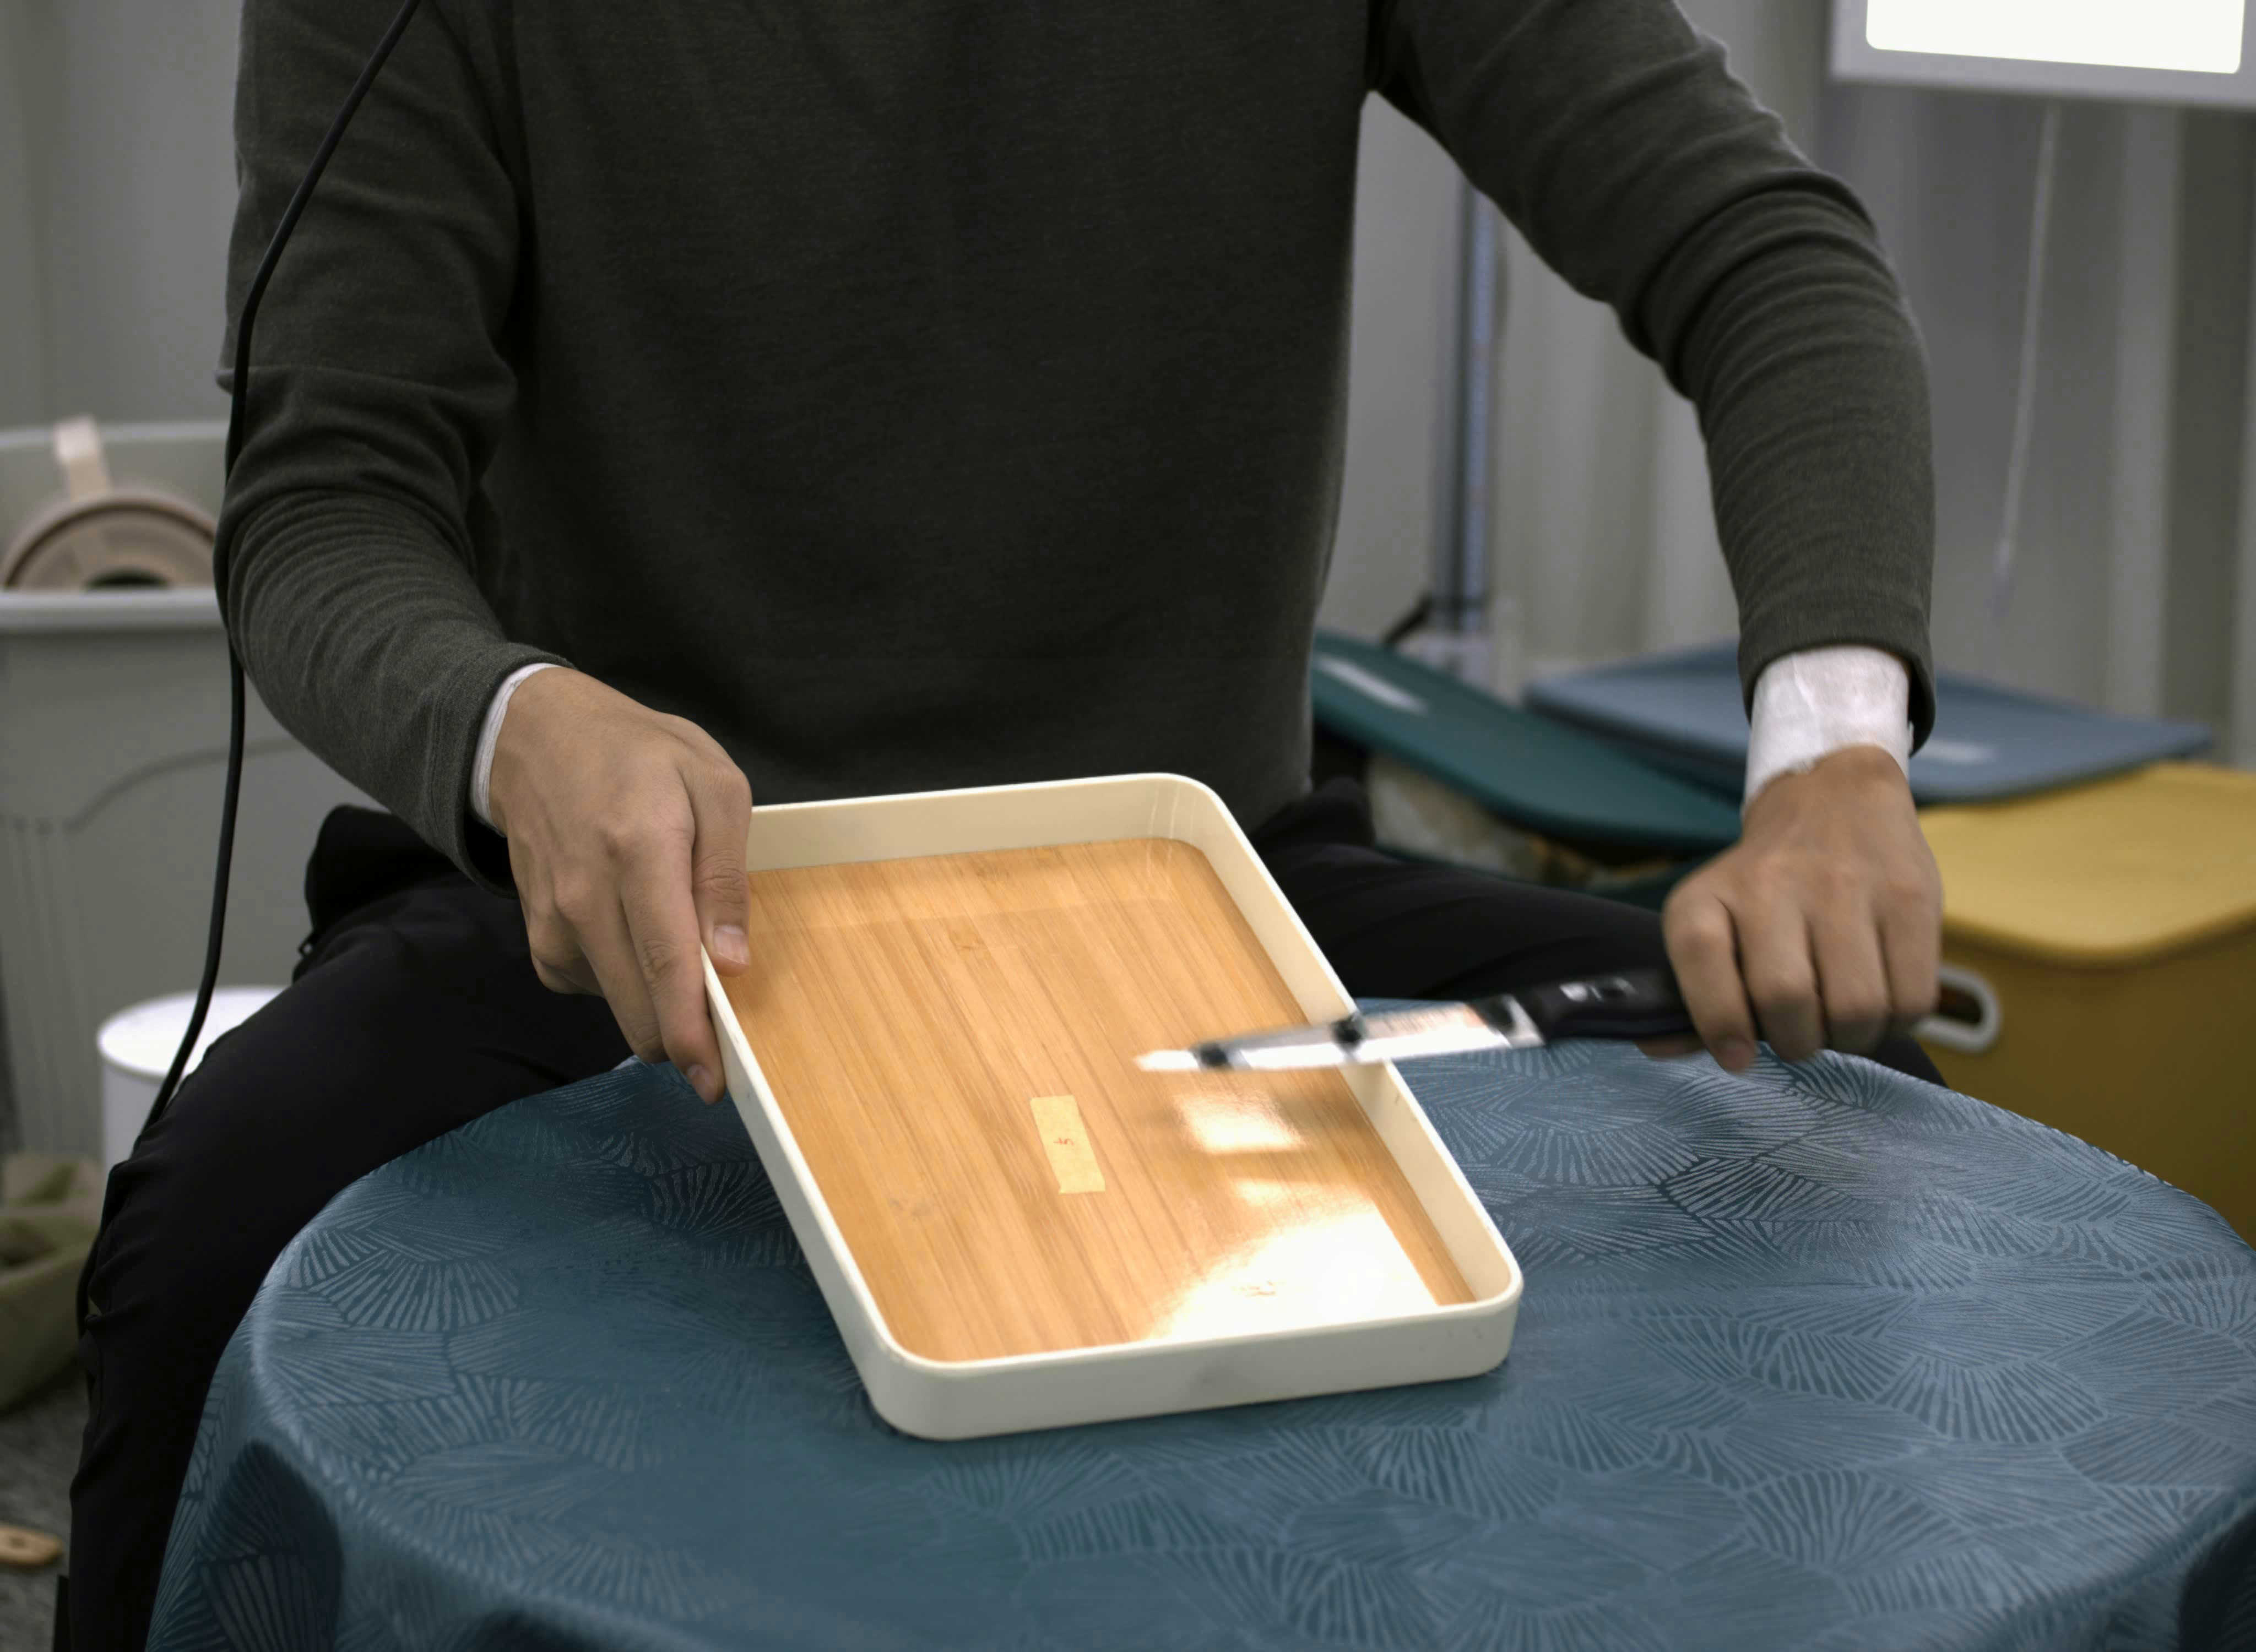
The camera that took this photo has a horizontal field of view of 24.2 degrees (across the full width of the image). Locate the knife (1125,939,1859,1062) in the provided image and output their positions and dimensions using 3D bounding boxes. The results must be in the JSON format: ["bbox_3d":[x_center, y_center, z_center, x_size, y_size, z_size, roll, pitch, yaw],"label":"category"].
[{"bbox_3d":[0.110,0.054,1.593,0.238,0.016,0.024,-6,32,-18],"label":"knife"}]

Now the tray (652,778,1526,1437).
[{"bbox_3d":[-0.019,0.075,1.561,0.192,0.027,0.296,-4,32,-19],"label":"tray"}]
